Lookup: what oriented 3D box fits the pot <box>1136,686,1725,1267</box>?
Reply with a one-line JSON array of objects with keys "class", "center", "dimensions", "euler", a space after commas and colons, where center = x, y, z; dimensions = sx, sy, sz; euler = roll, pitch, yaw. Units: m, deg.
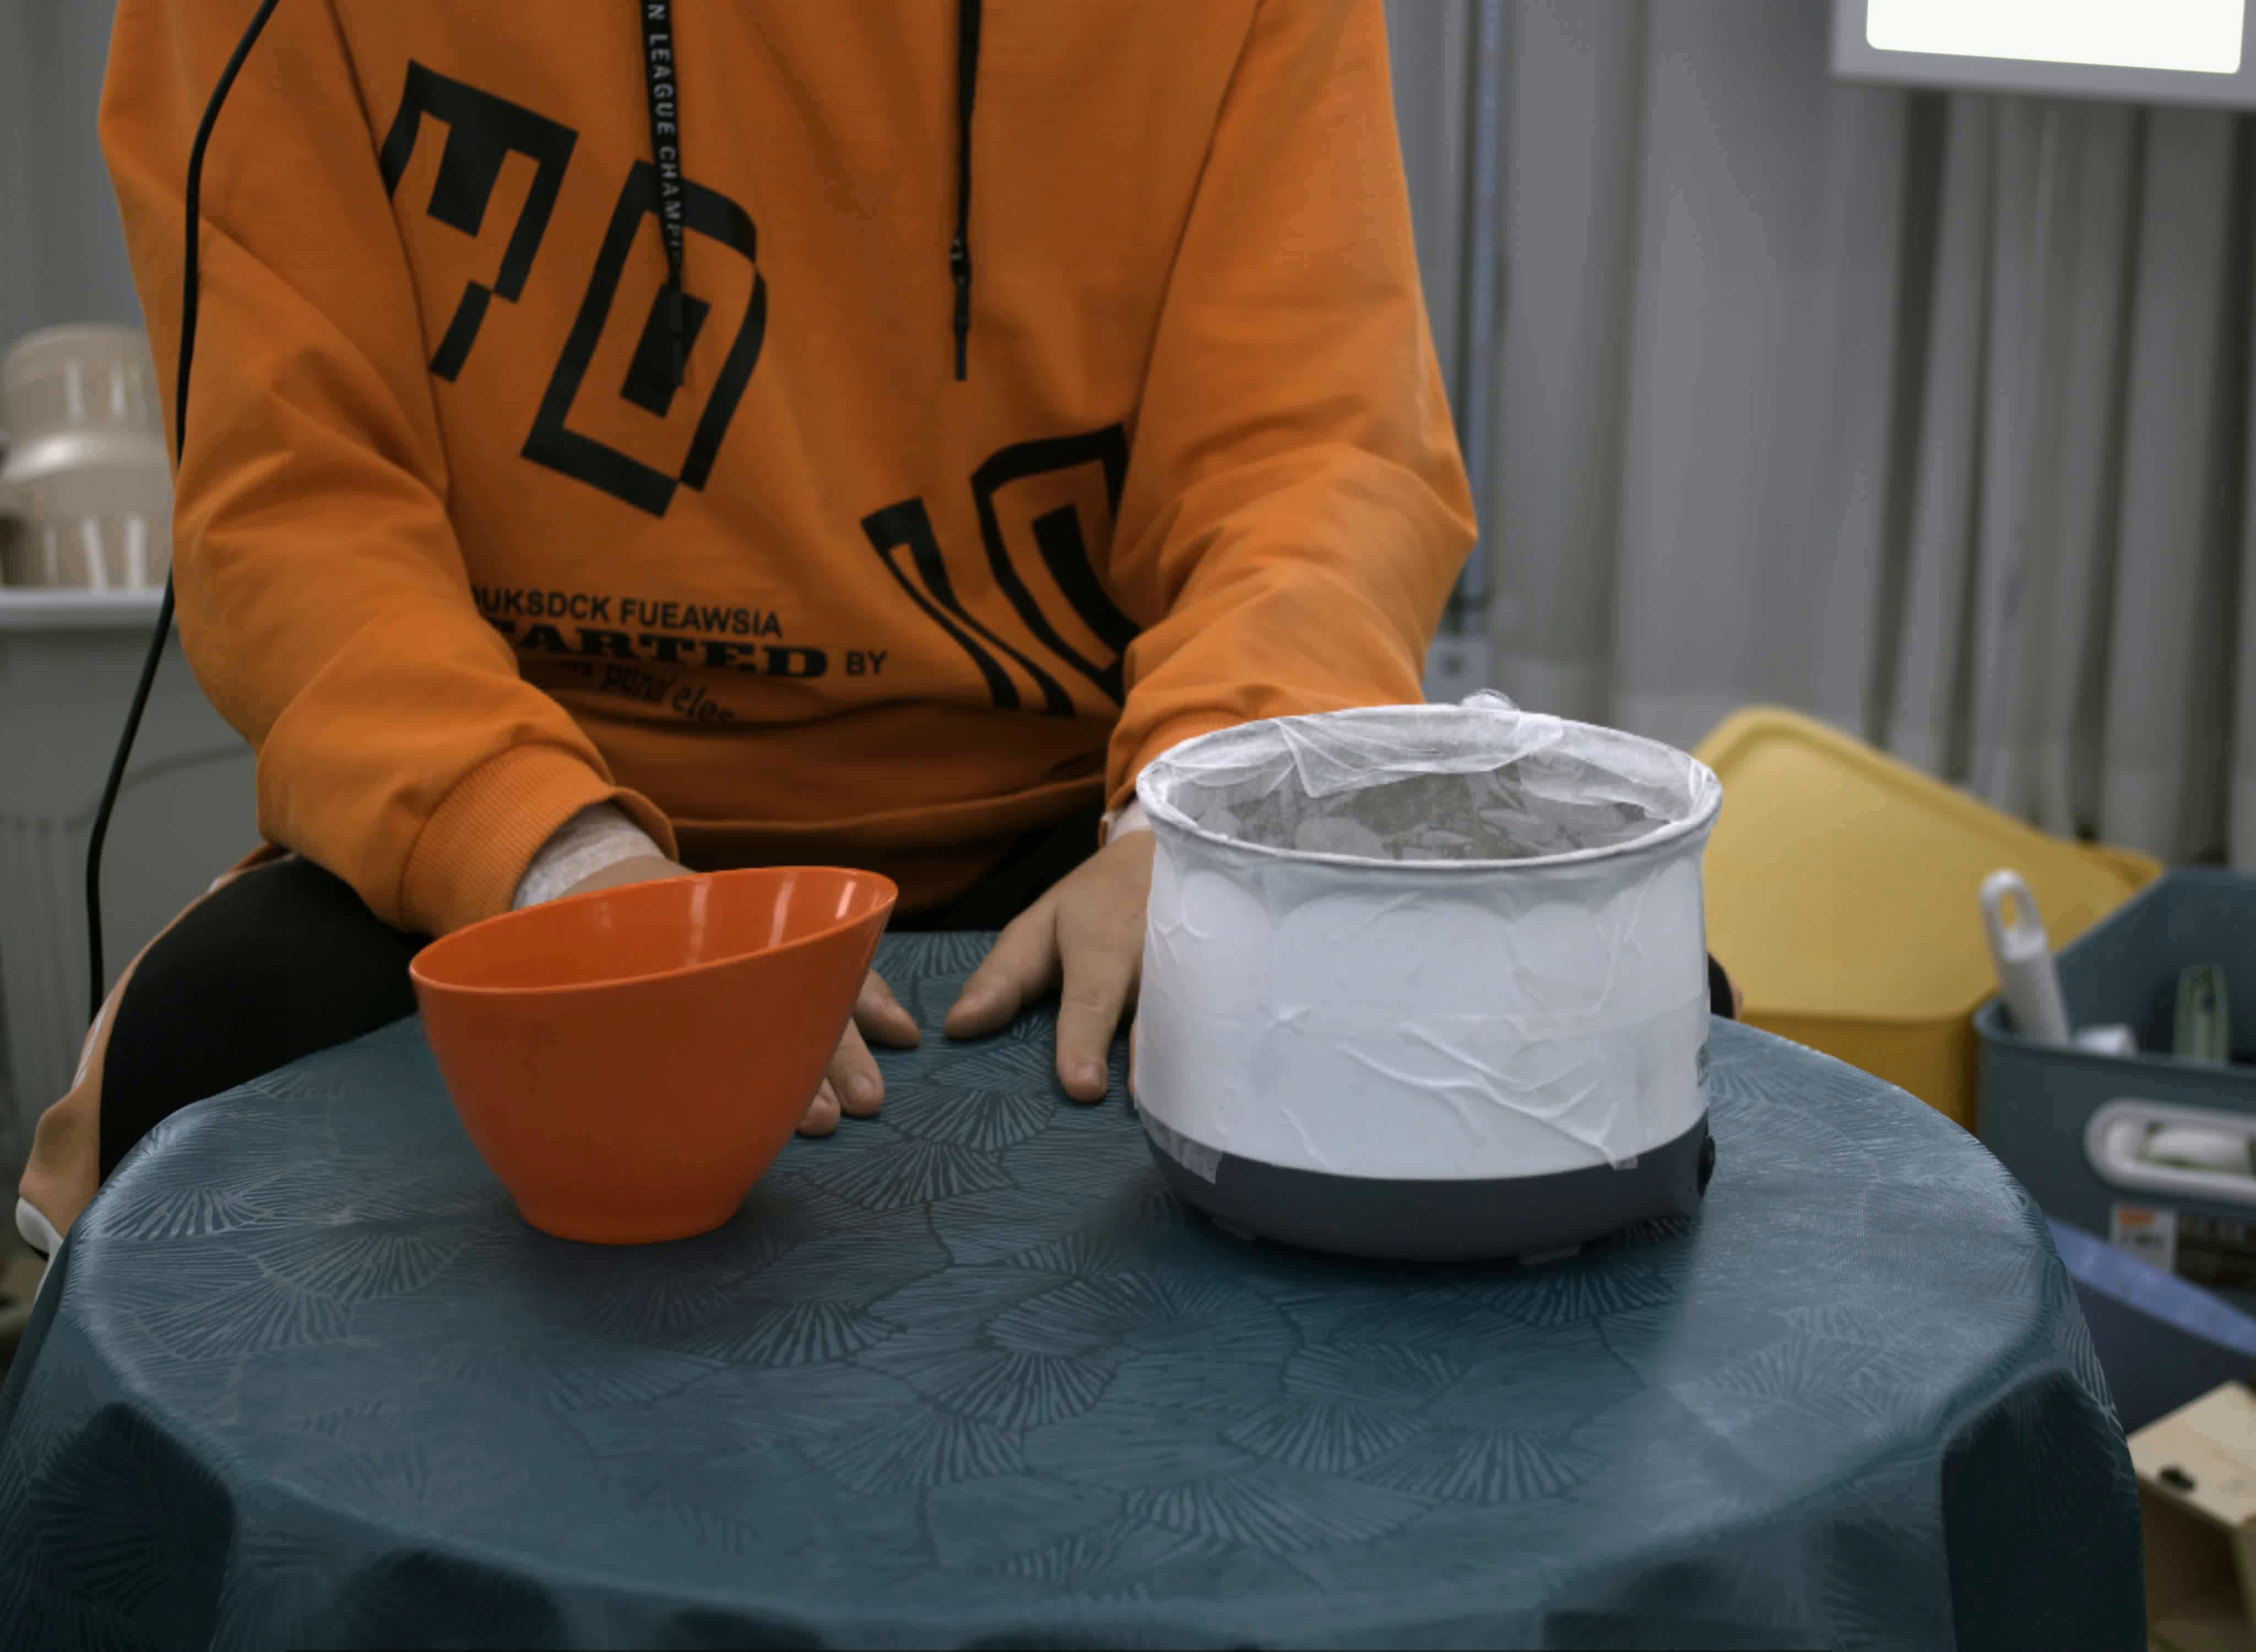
[{"class": "pot", "center": [0.096, 0.040, 1.627], "dimensions": [0.177, 0.138, 0.233], "euler": [4, 17, 11]}]

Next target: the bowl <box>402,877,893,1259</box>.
[{"class": "bowl", "center": [-0.143, 0.072, 1.583], "dimensions": [0.147, 0.105, 0.147], "euler": [-1, 15, 1]}]
